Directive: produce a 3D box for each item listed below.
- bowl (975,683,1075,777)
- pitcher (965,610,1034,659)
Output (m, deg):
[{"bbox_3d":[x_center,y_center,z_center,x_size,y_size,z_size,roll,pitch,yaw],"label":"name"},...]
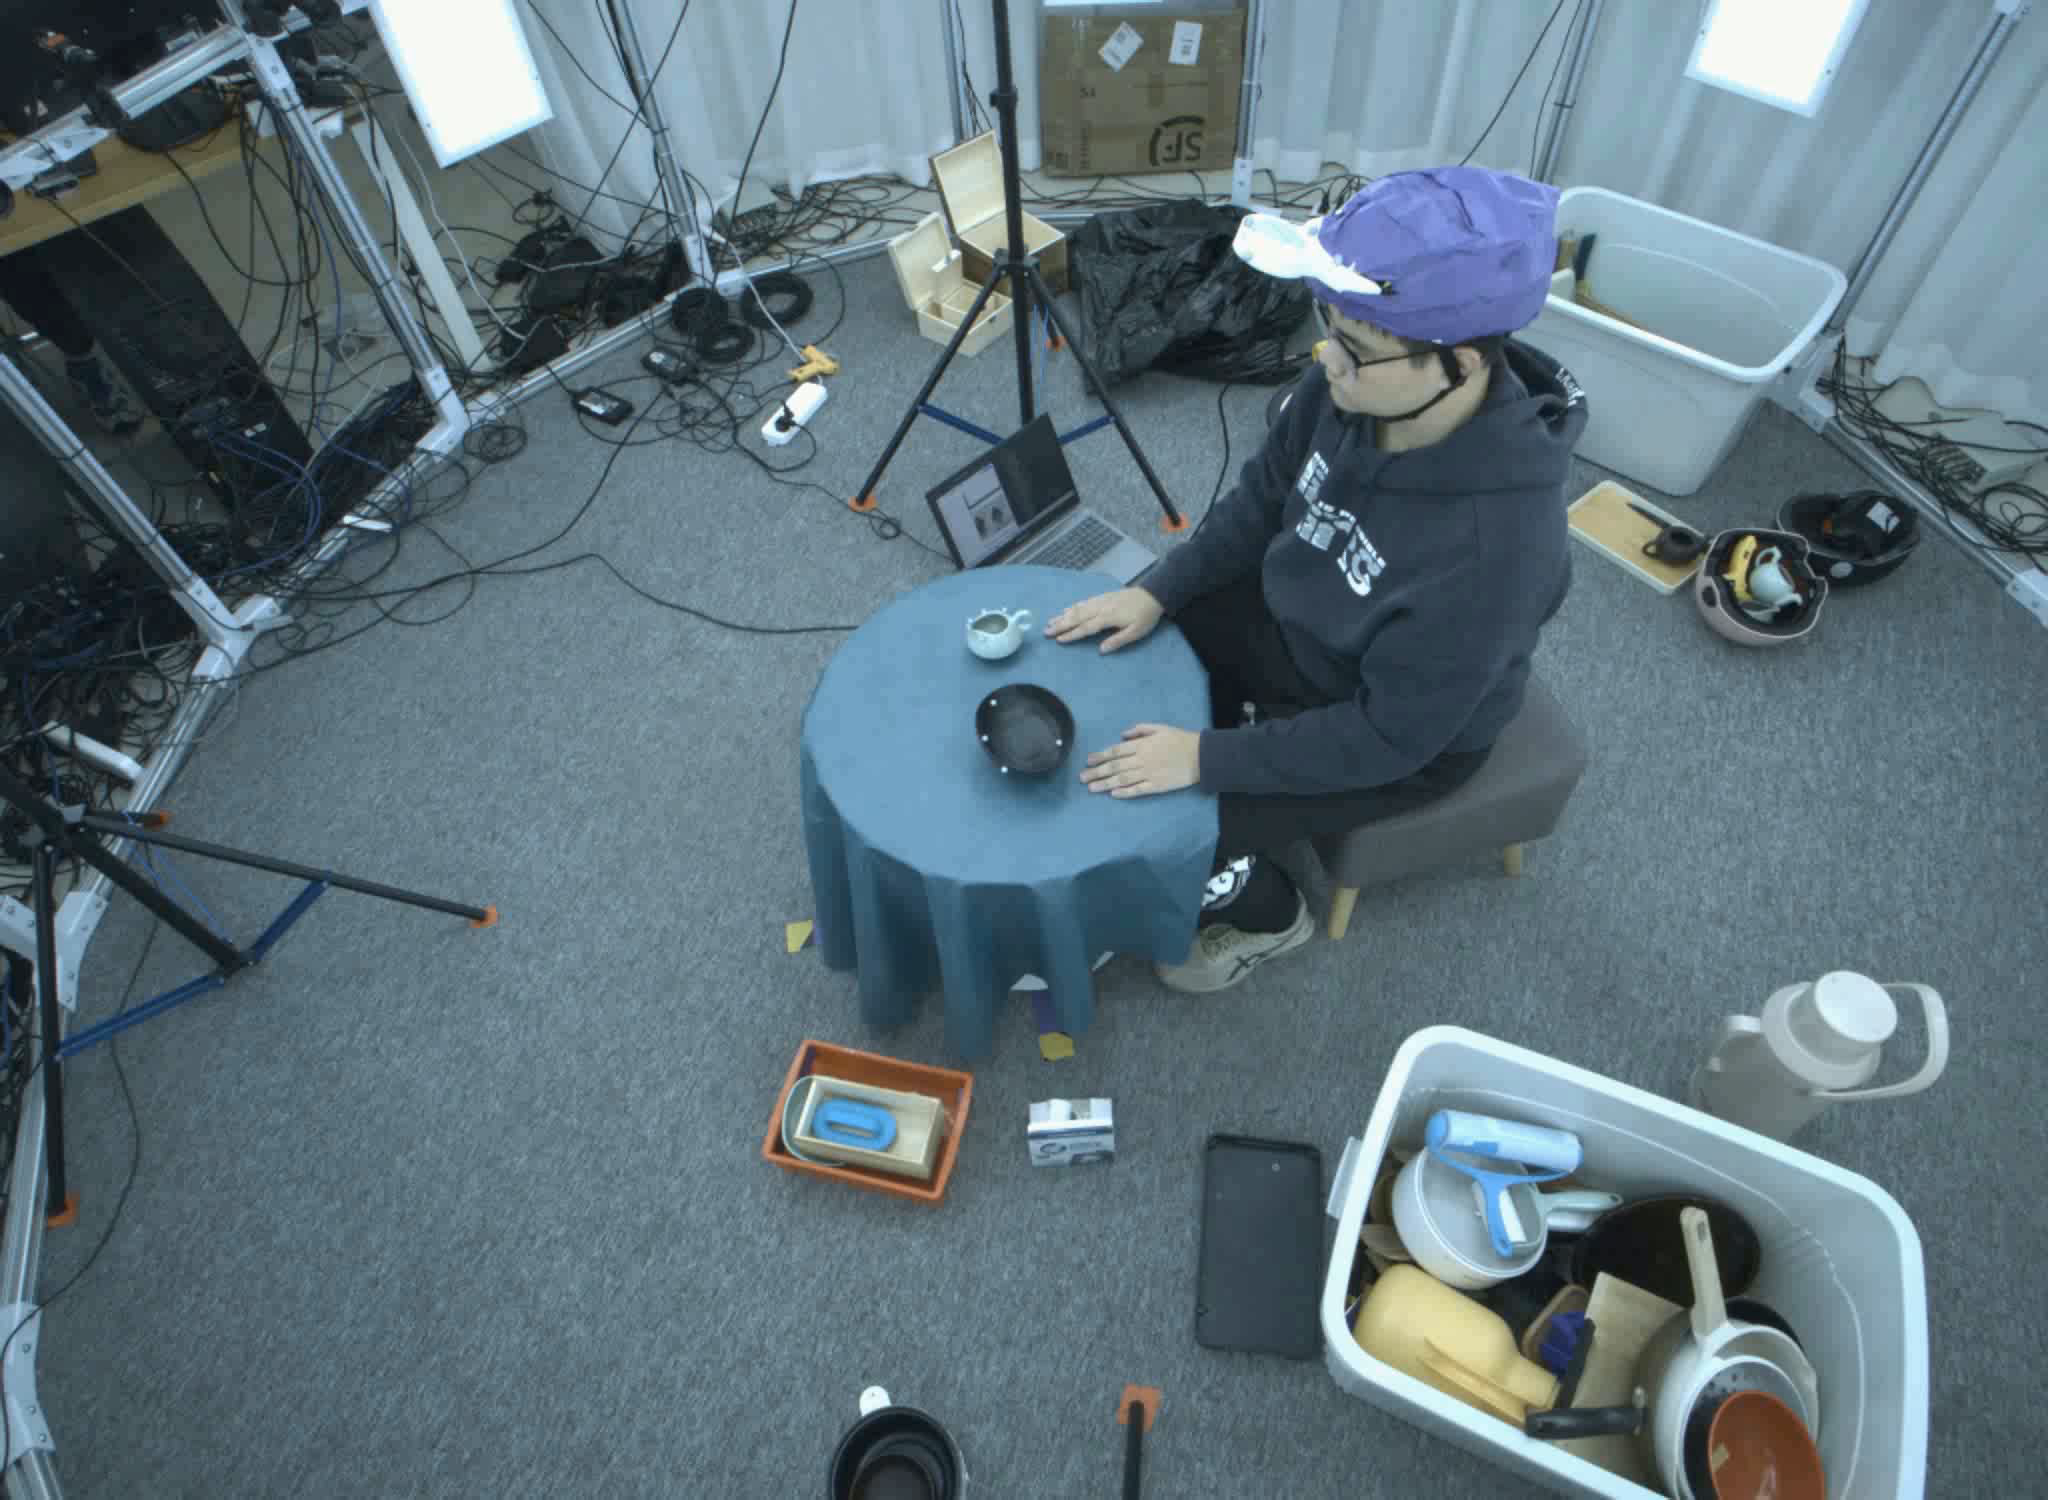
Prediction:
[{"bbox_3d":[0.000,-0.020,1.764,0.138,0.067,0.167,-21,56,-13],"label":"bowl"},{"bbox_3d":[-0.038,-0.183,1.884,0.109,0.061,0.084,-14,57,-11],"label":"pitcher"}]
